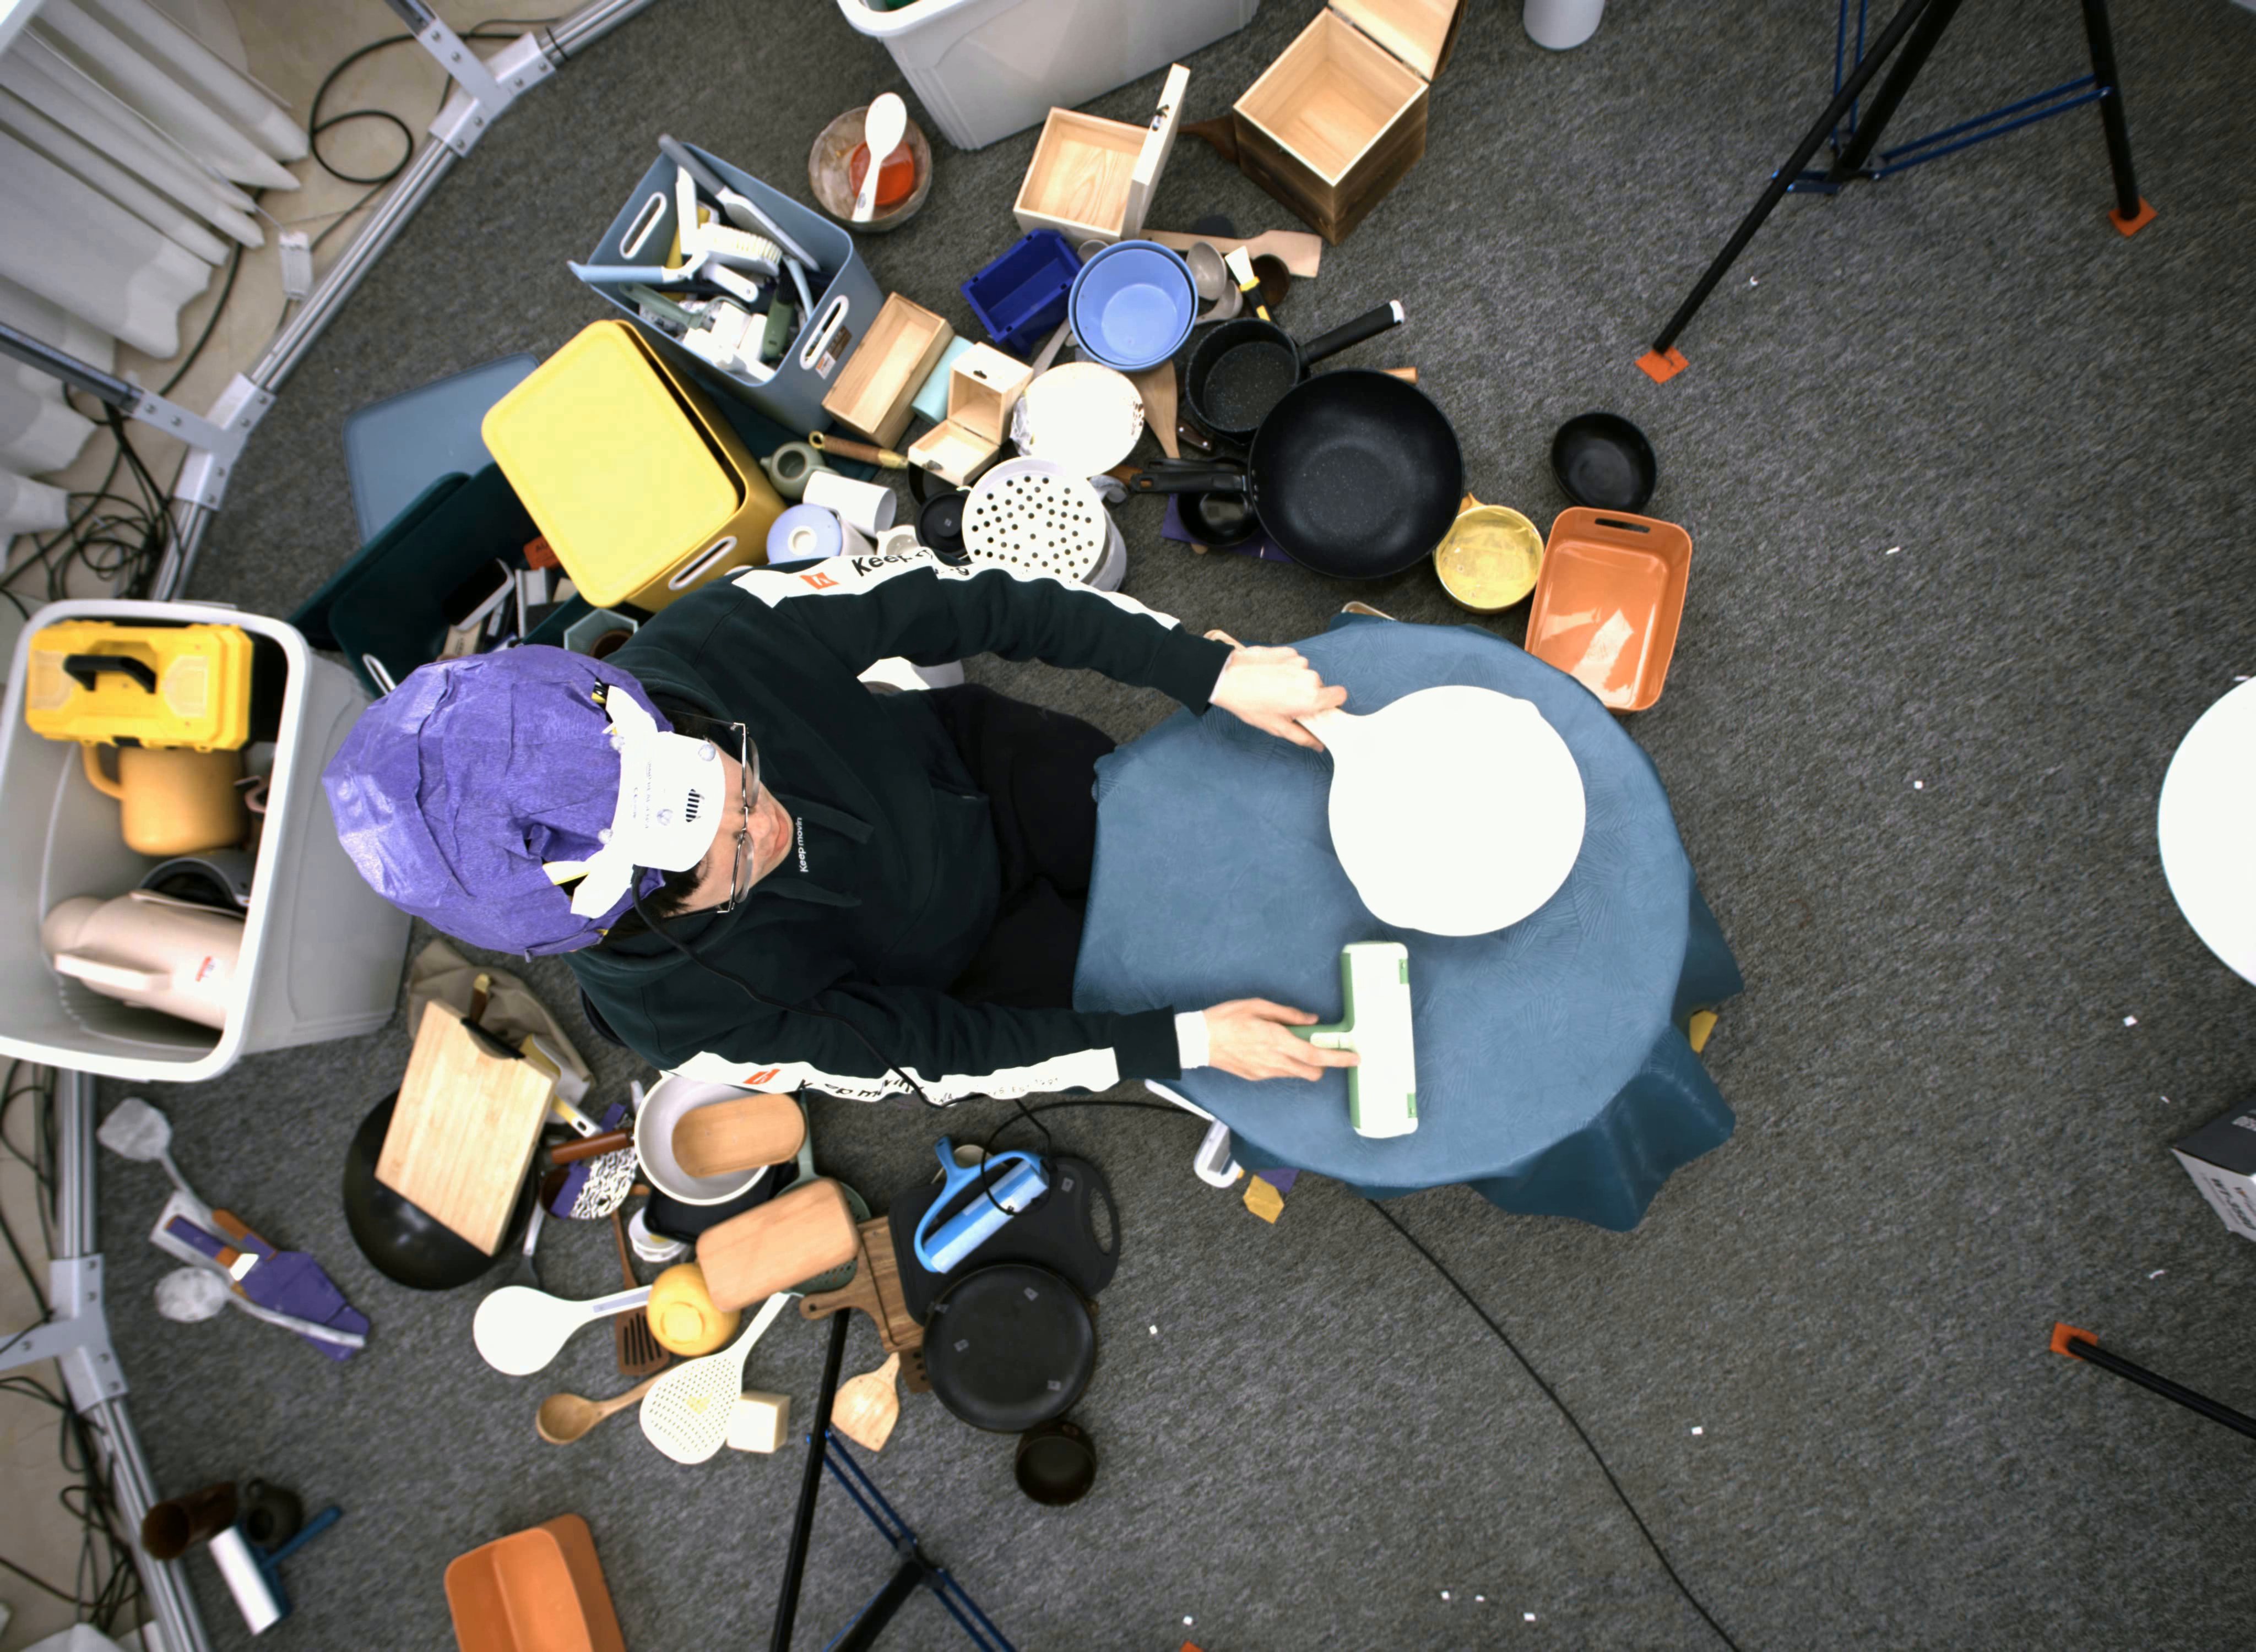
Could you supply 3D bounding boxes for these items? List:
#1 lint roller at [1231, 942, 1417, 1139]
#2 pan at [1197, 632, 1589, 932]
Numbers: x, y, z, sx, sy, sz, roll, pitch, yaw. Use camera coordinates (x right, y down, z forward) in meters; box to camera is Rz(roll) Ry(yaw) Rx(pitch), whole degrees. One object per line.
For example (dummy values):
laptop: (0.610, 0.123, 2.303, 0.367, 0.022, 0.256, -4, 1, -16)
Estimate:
lint roller: (0.198, 0.220, 1.411, 0.184, 0.082, 0.198, -3, 90, 2)
pan: (0.260, -0.070, 1.414, 0.433, 0.102, 0.264, 35, 94, 11)
